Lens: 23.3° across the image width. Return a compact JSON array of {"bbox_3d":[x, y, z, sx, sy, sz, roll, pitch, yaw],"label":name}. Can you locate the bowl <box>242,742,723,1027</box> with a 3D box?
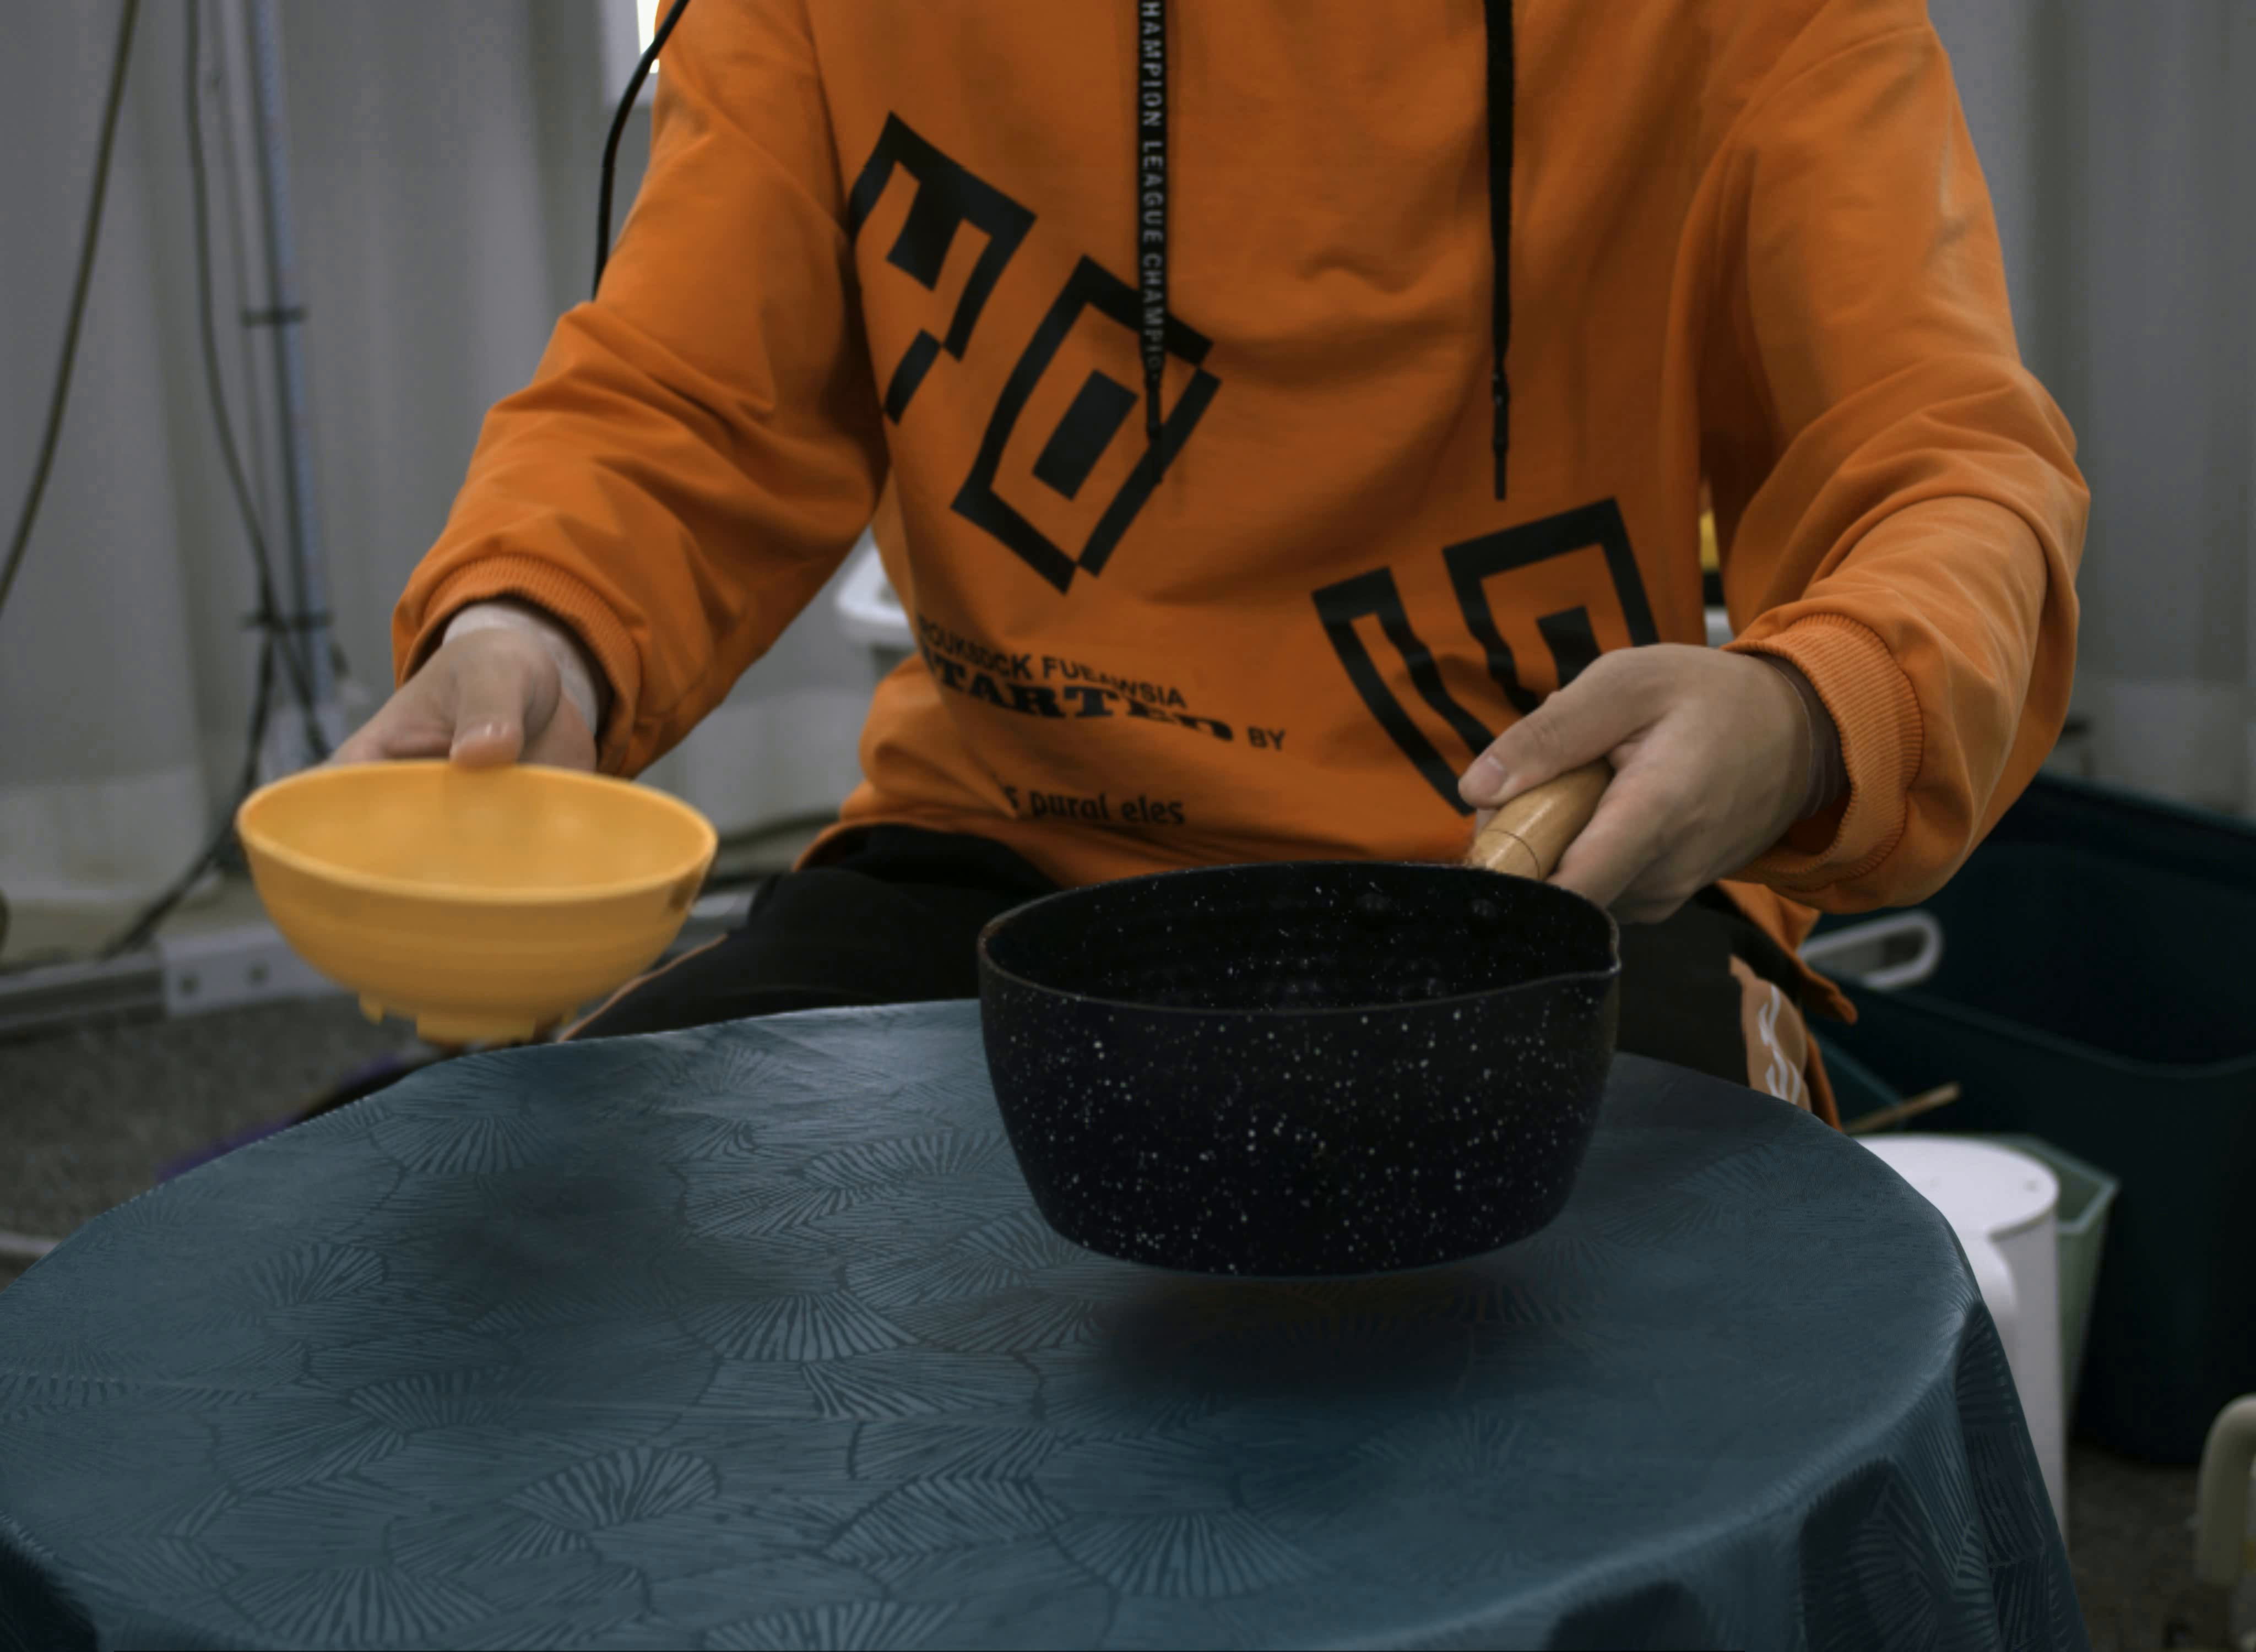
[{"bbox_3d":[-0.197,0.022,1.653,0.145,0.060,0.146,6,15,-2],"label":"bowl"}]

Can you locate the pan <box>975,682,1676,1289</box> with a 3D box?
[{"bbox_3d":[0.086,0.043,1.644,0.208,0.108,0.343,3,15,28],"label":"pan"}]
